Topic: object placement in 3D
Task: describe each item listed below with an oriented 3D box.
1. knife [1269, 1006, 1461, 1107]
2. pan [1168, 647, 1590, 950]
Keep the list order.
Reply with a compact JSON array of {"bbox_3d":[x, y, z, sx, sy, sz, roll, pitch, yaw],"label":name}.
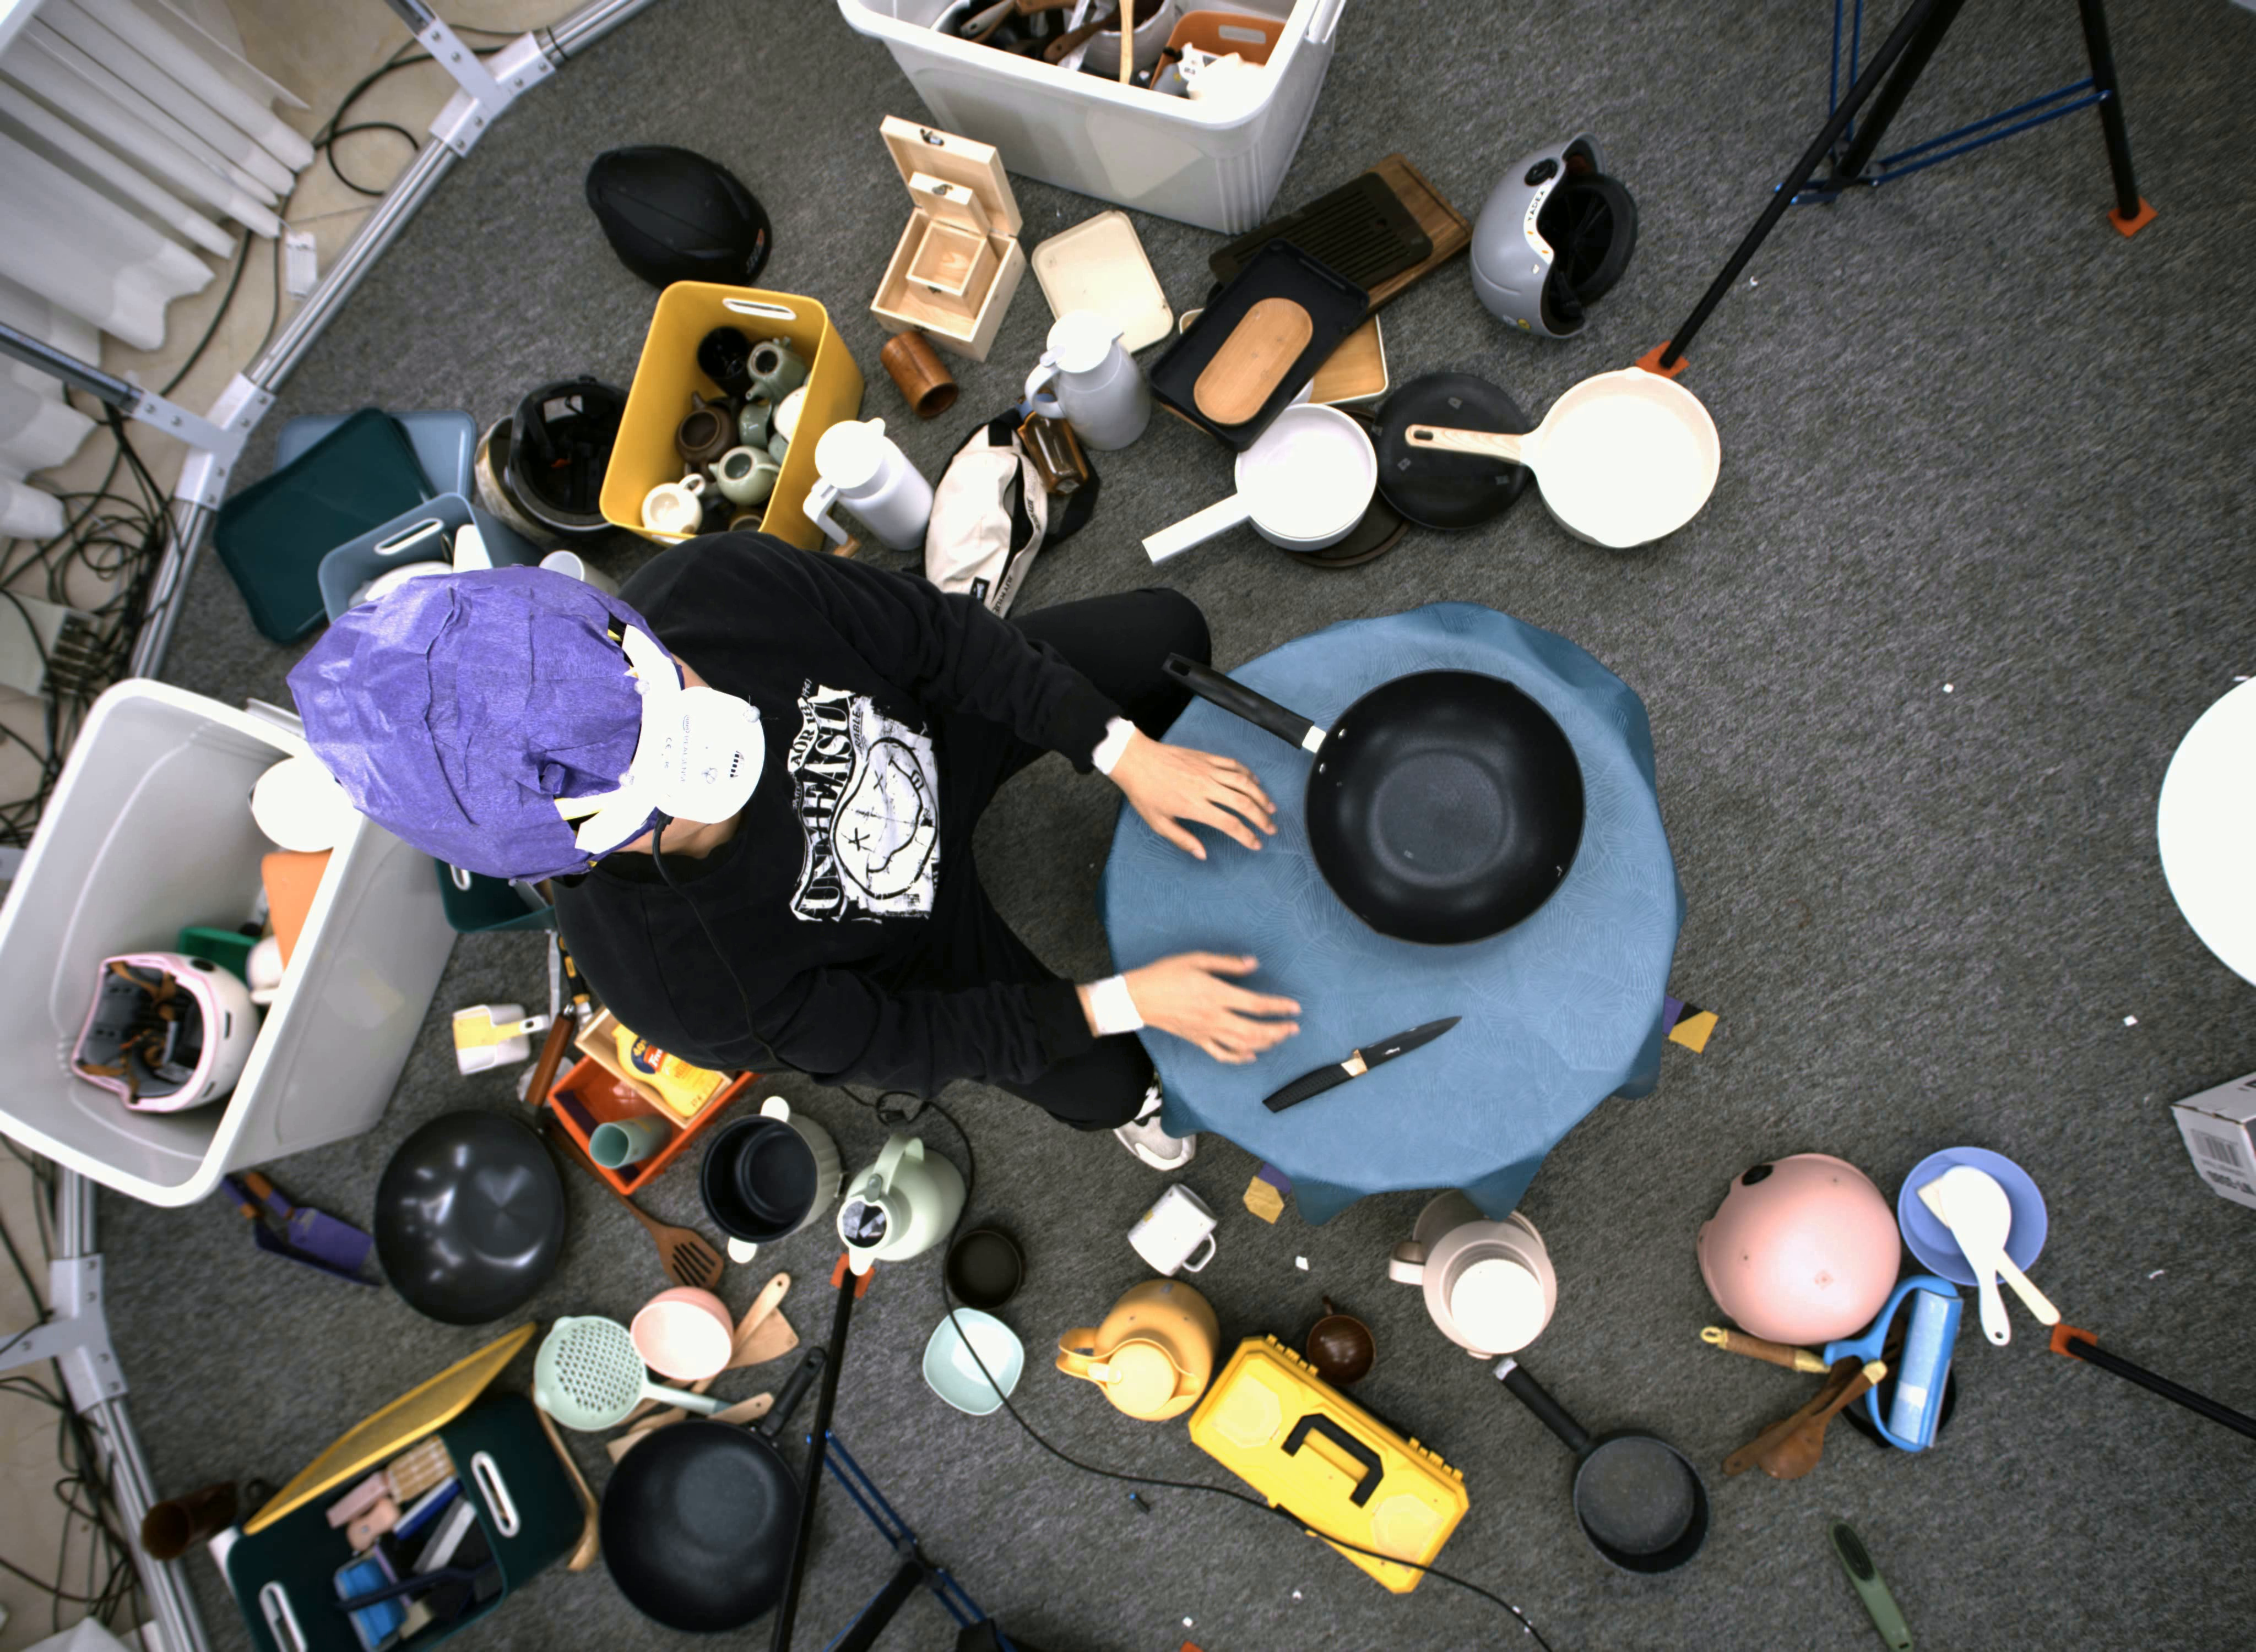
[{"bbox_3d":[0.249,0.241,1.453,0.227,0.017,0.026,-26,70,8],"label":"knife"},{"bbox_3d":[0.246,-0.058,1.431,0.462,0.087,0.288,29,93,12],"label":"pan"}]
